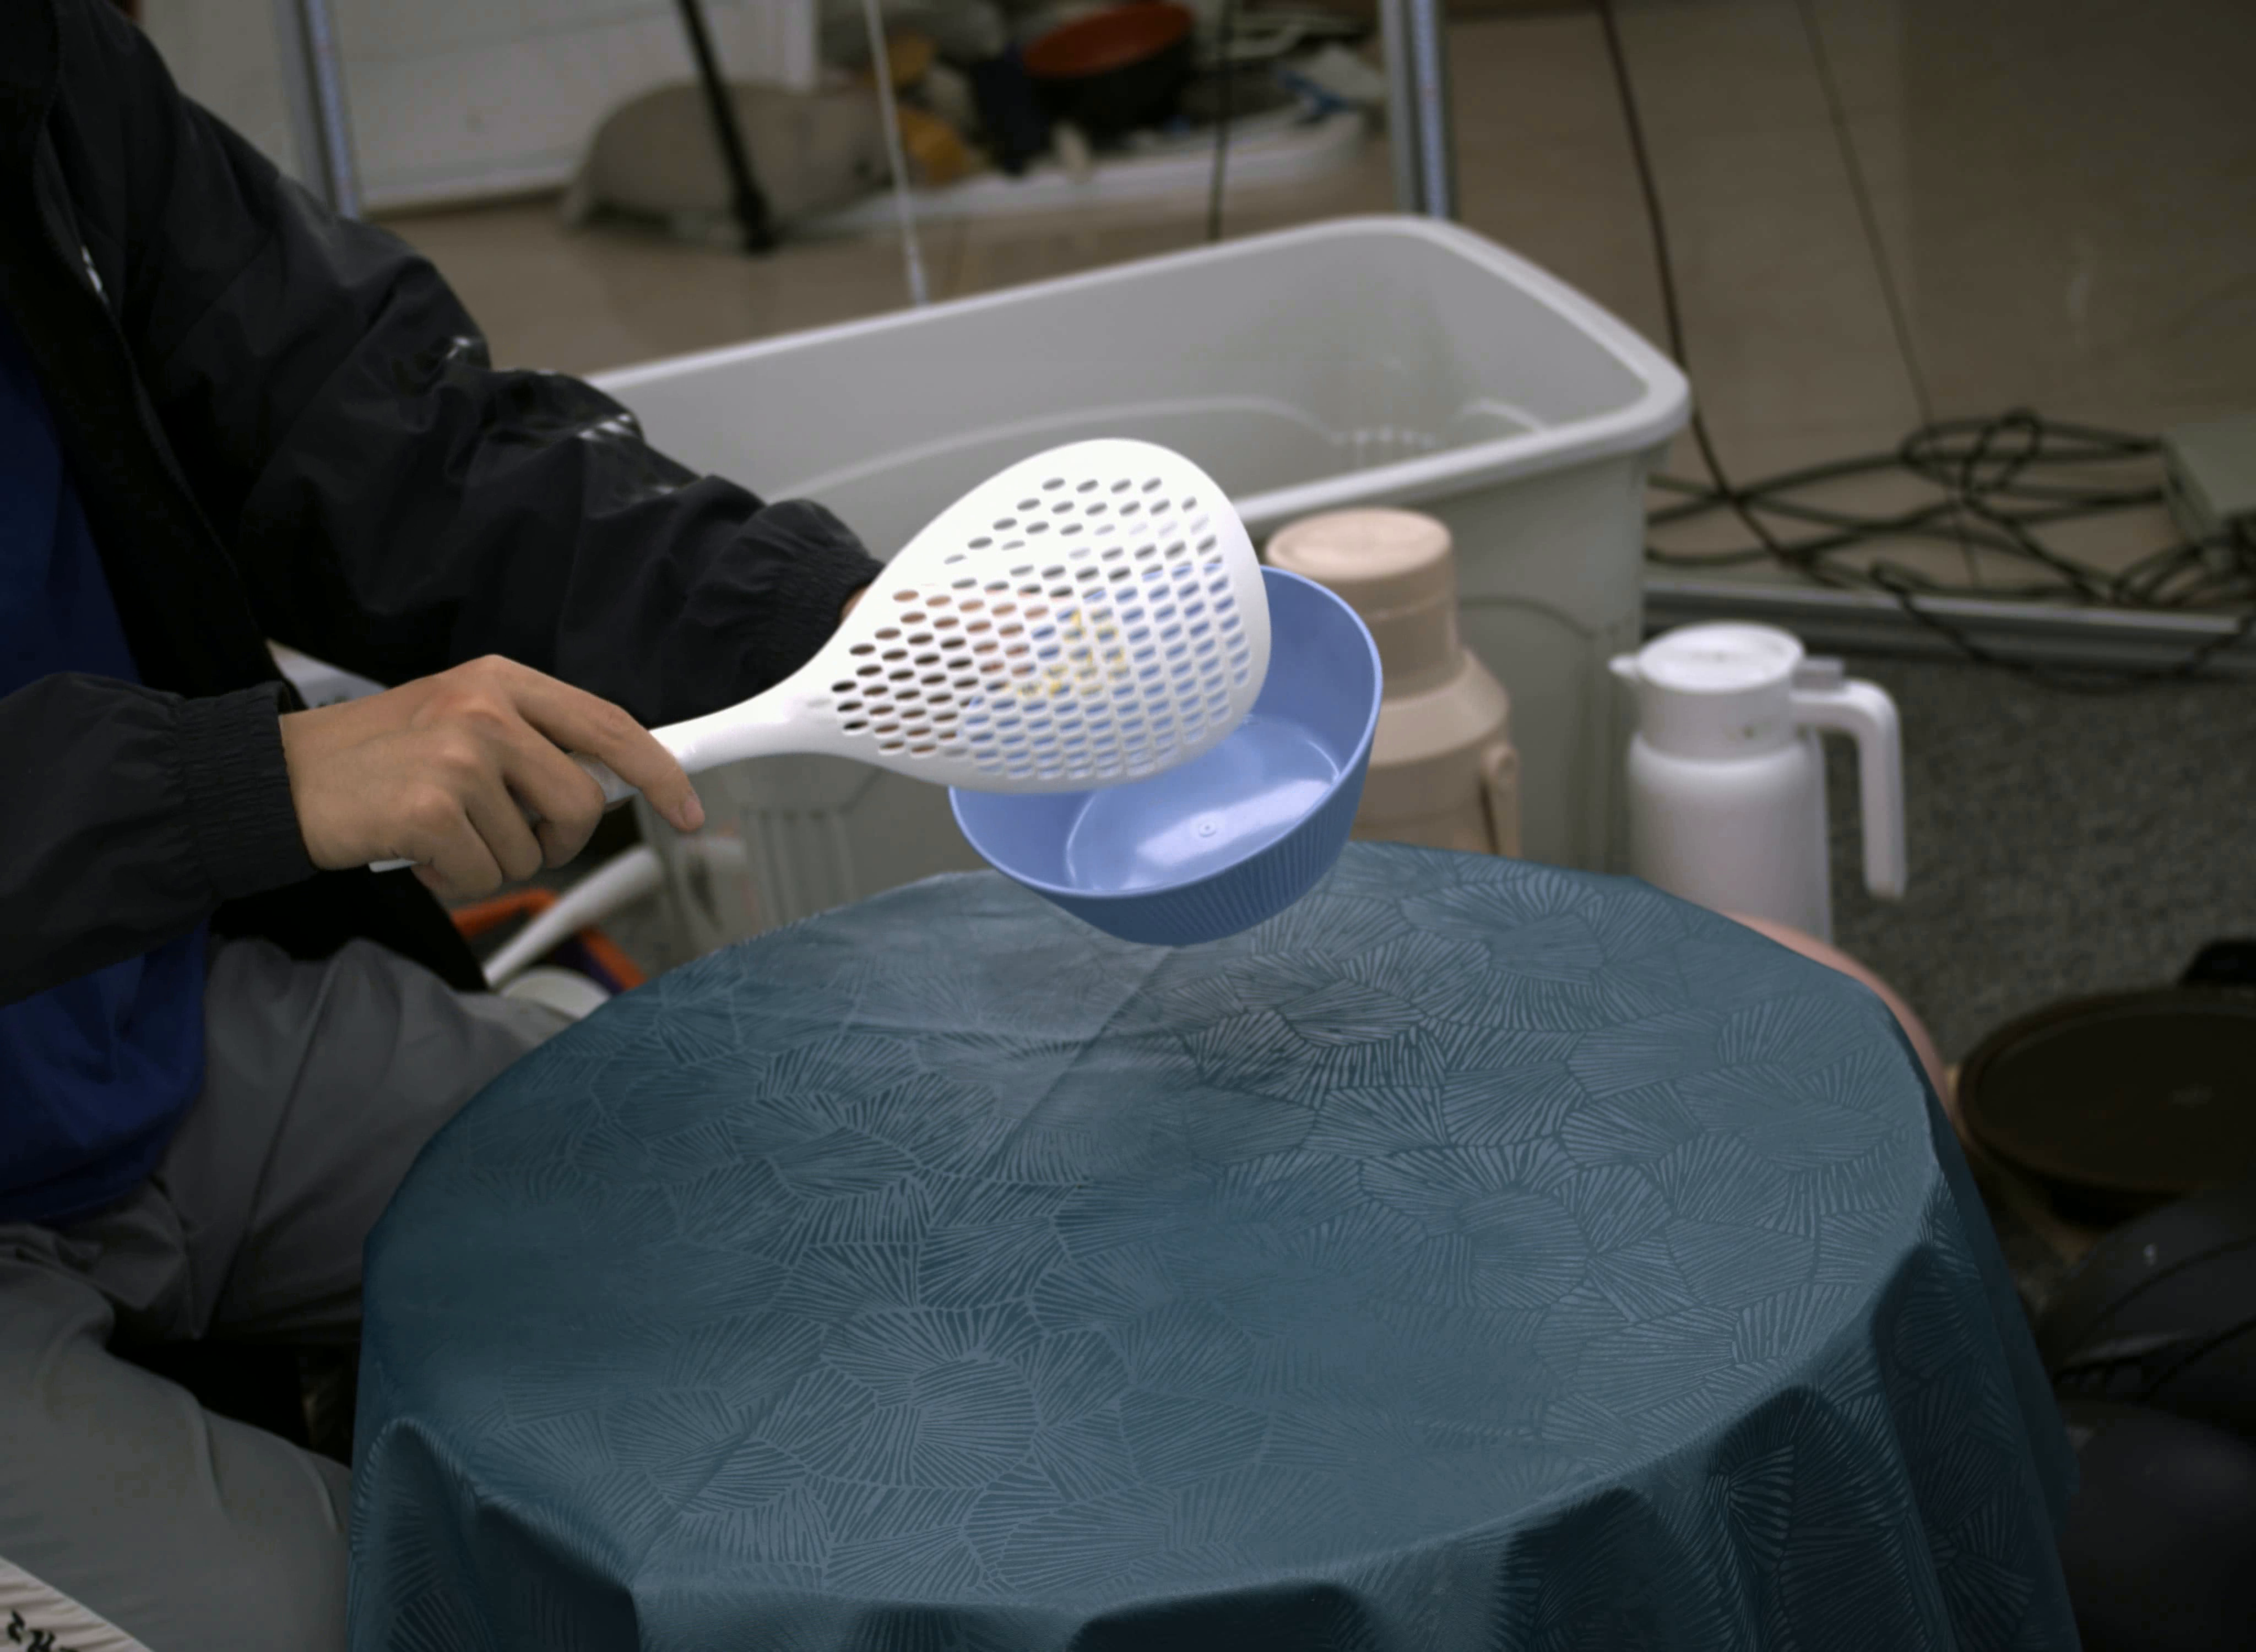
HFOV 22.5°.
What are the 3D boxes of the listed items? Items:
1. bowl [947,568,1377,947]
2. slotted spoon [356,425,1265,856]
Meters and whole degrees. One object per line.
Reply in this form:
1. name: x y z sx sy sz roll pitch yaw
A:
1. bowl: 0.022 -0.017 2.204 0.176 0.071 0.173 -13 44 14
2. slotted spoon: -0.115 -0.044 2.094 0.347 0.139 0.049 -16 24 -1
